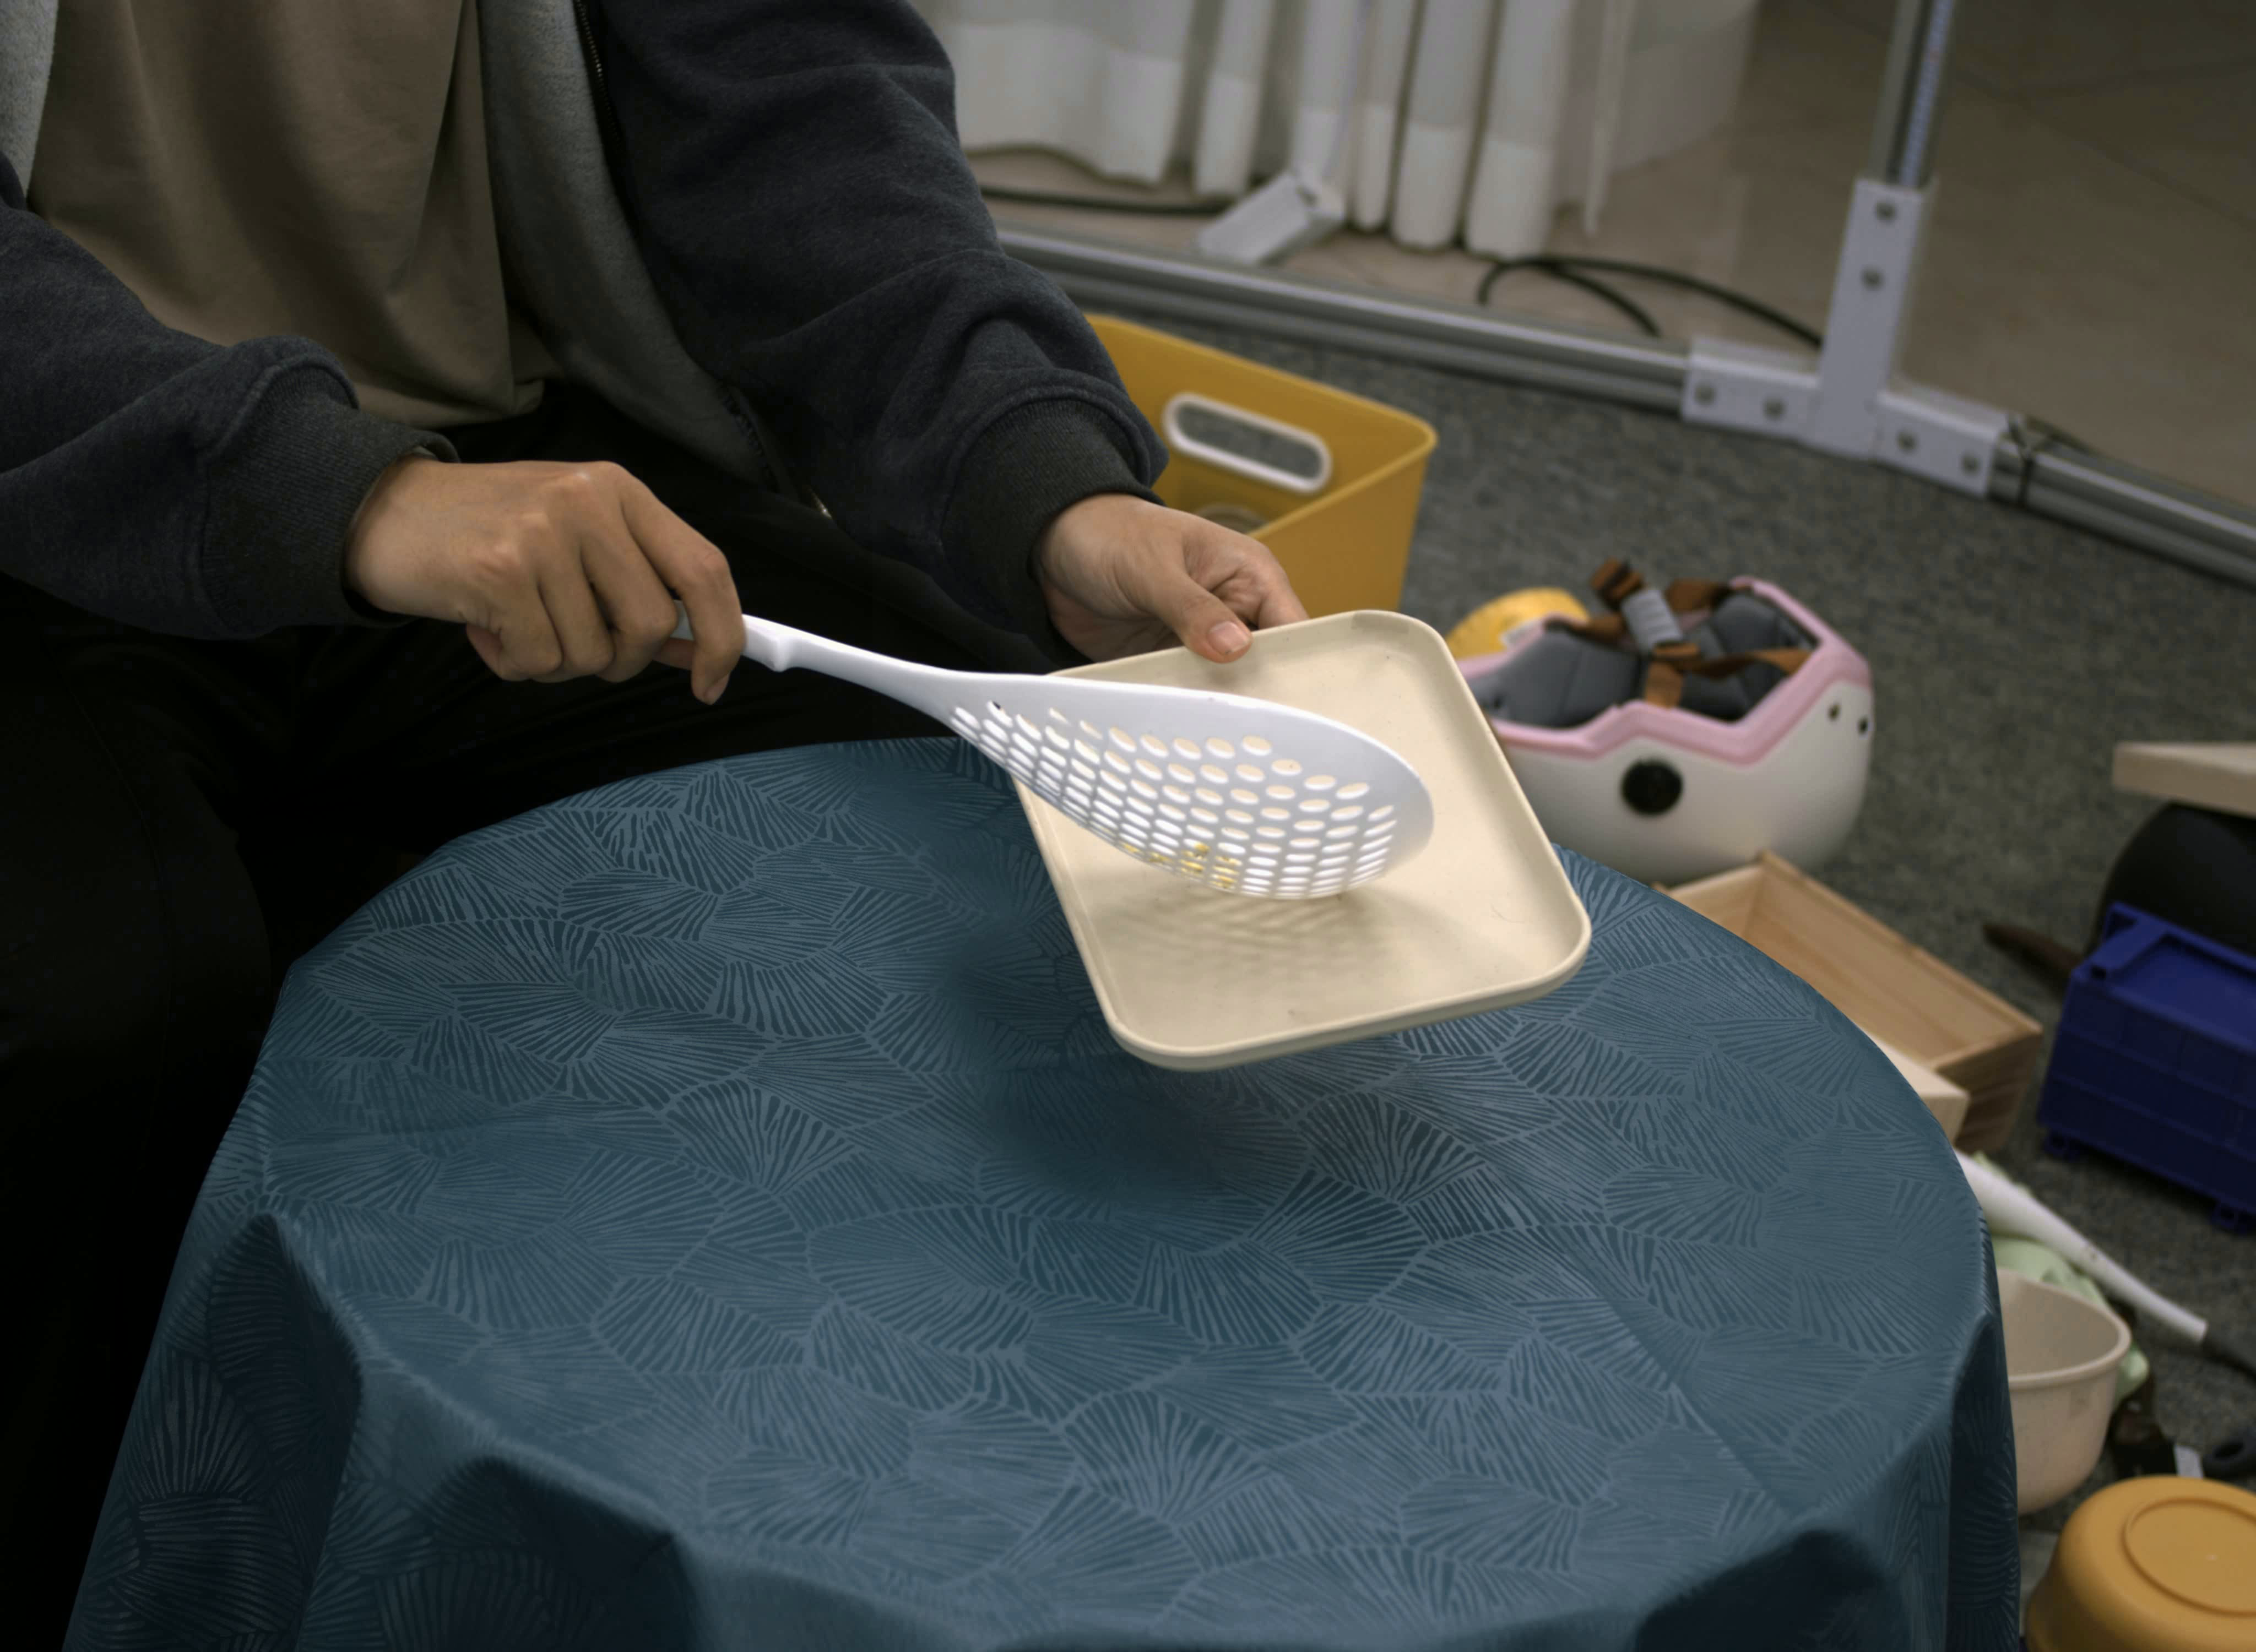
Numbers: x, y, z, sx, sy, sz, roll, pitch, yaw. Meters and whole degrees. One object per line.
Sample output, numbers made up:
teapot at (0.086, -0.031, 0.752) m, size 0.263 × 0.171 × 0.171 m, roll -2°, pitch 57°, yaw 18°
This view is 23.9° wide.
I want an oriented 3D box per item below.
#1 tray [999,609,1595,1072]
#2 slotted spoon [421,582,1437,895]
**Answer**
tray at (0.056, 0.003, 1.870) m, size 0.170 × 0.017 × 0.242 m, roll -12°, pitch 36°, yaw -7°
slotted spoon at (-0.067, -0.038, 1.797) m, size 0.347 × 0.136 × 0.050 m, roll 19°, pitch 70°, yaw 2°
